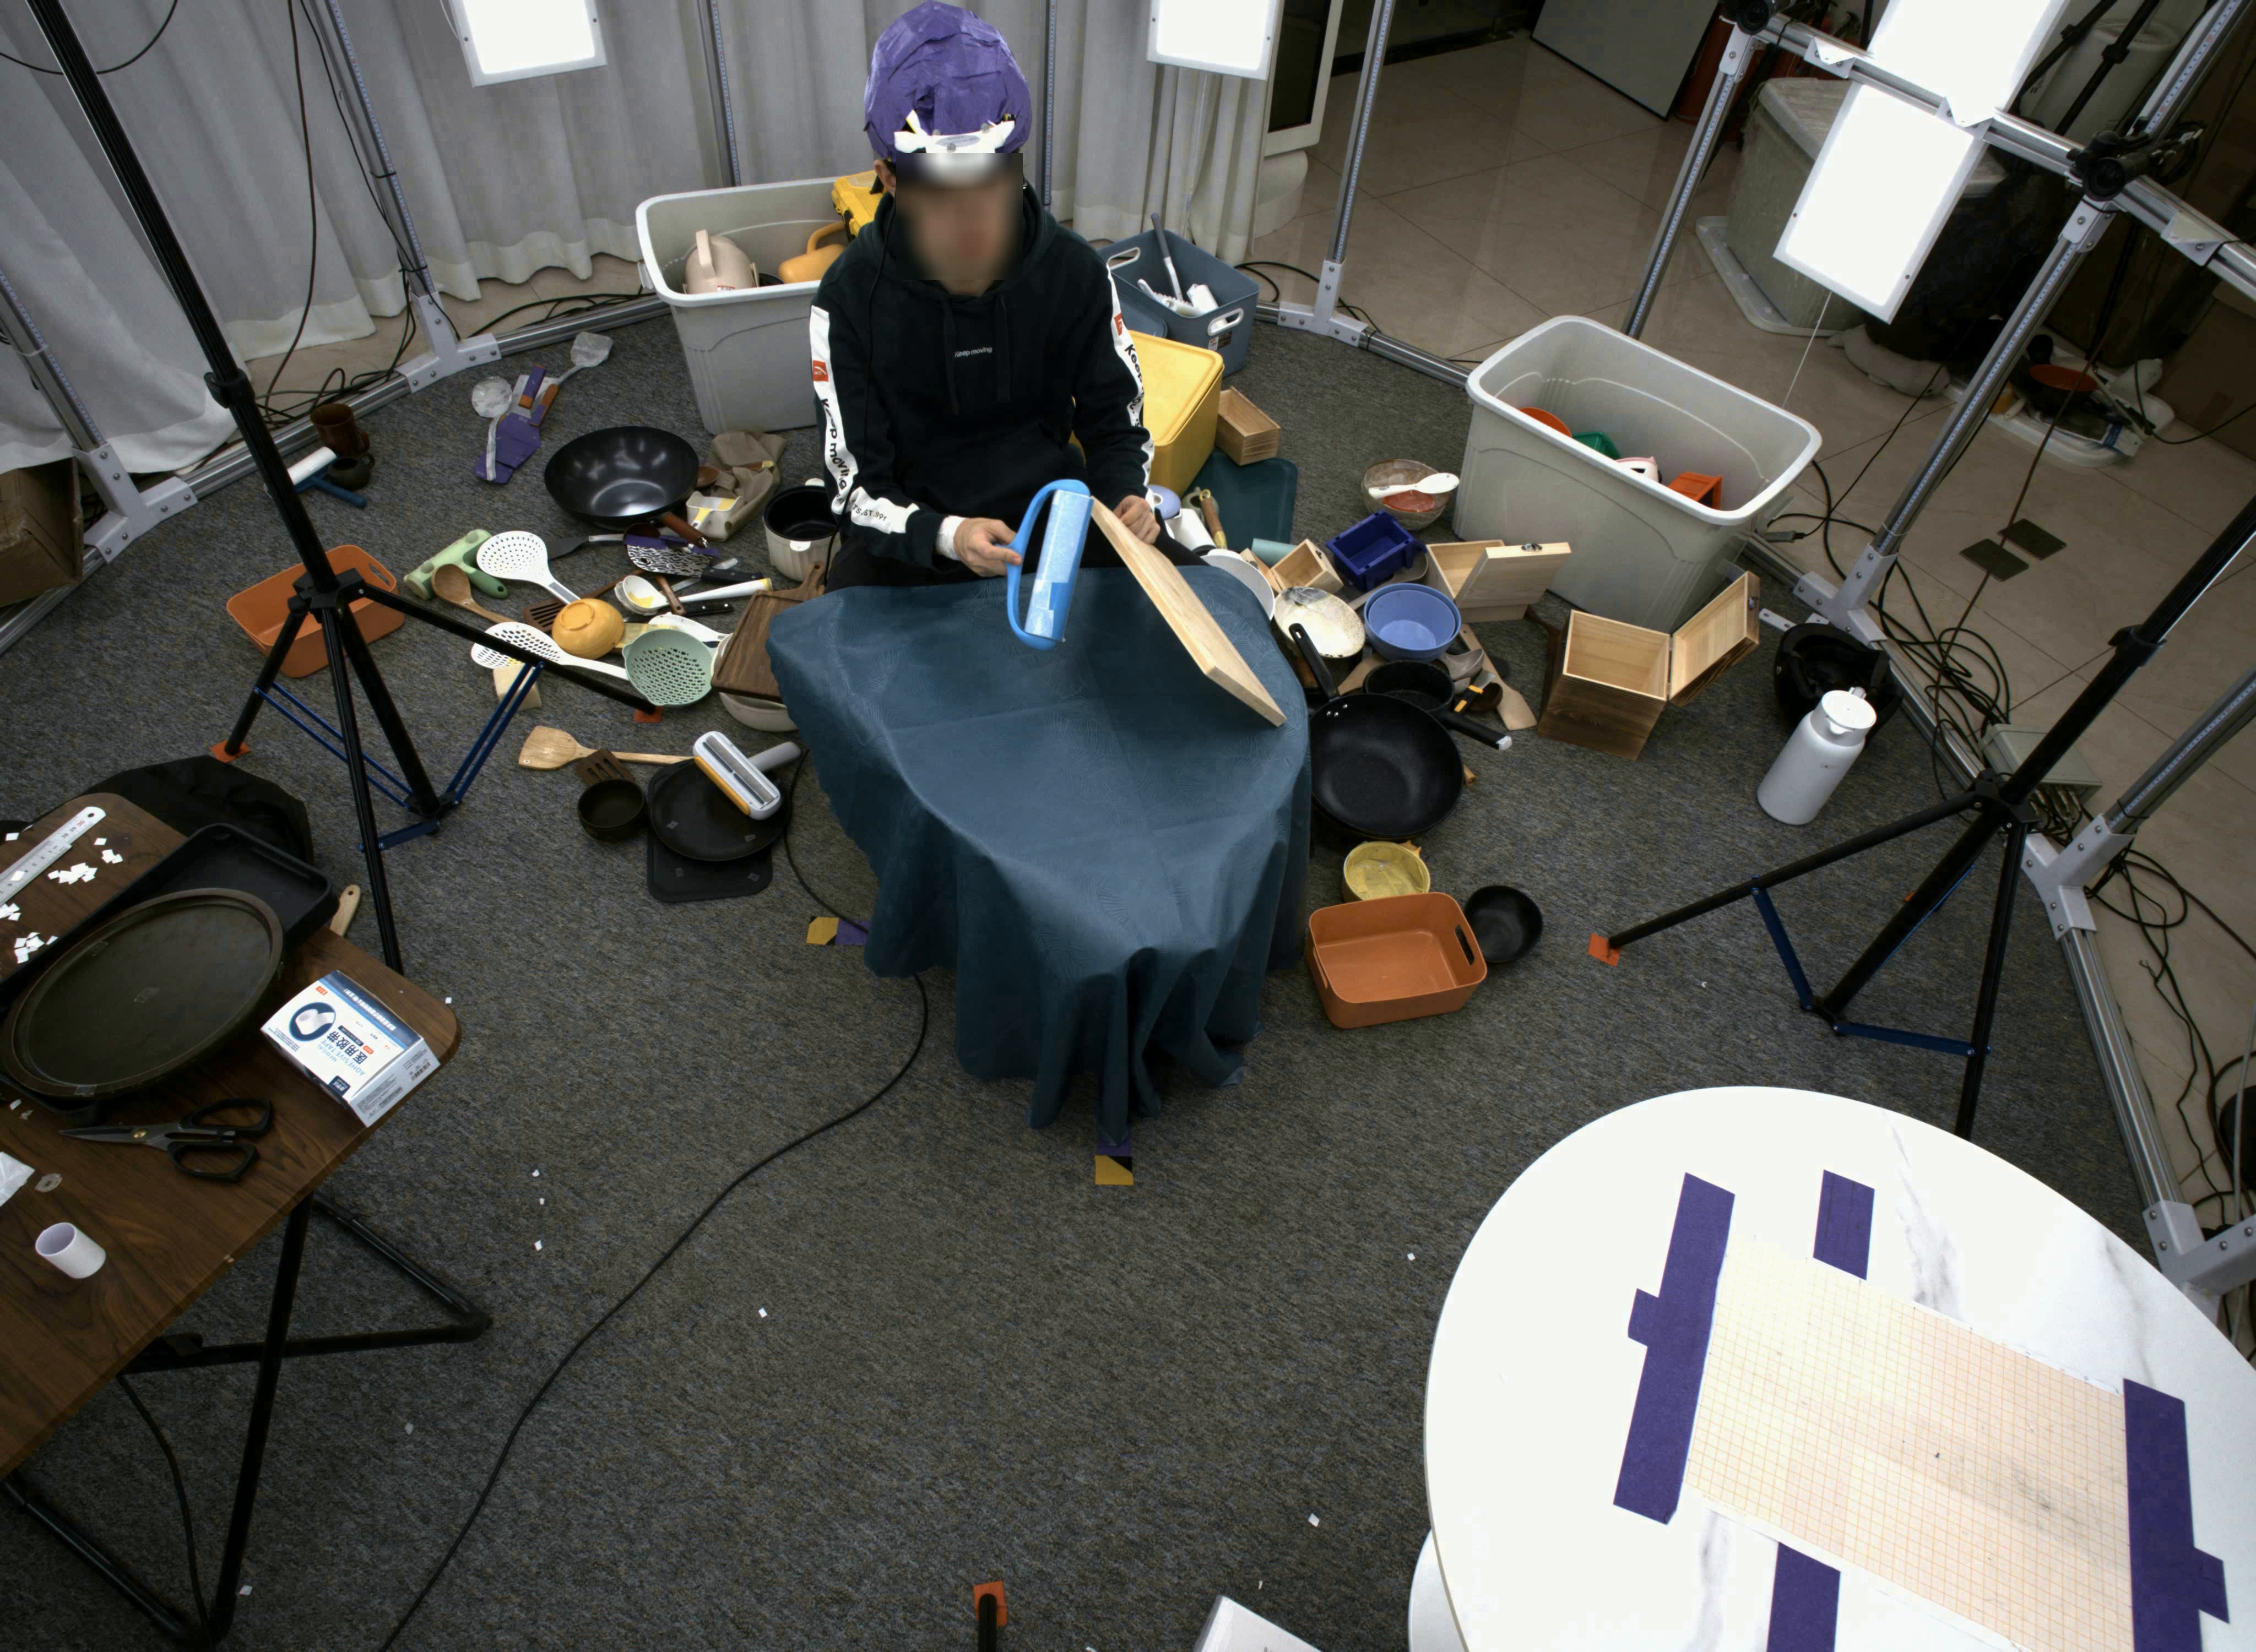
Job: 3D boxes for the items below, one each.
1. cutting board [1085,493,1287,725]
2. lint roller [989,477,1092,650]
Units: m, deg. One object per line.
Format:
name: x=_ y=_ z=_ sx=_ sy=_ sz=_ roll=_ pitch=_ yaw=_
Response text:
cutting board: x=0.078 y=-0.300 z=1.790 sx=0.023 sy=0.247 sz=0.355 roll=-41 pitch=61 yaw=15
lint roller: x=-0.139 y=-0.361 z=1.748 sx=0.182 sy=0.228 sz=0.067 roll=15 pitch=8 yaw=37
